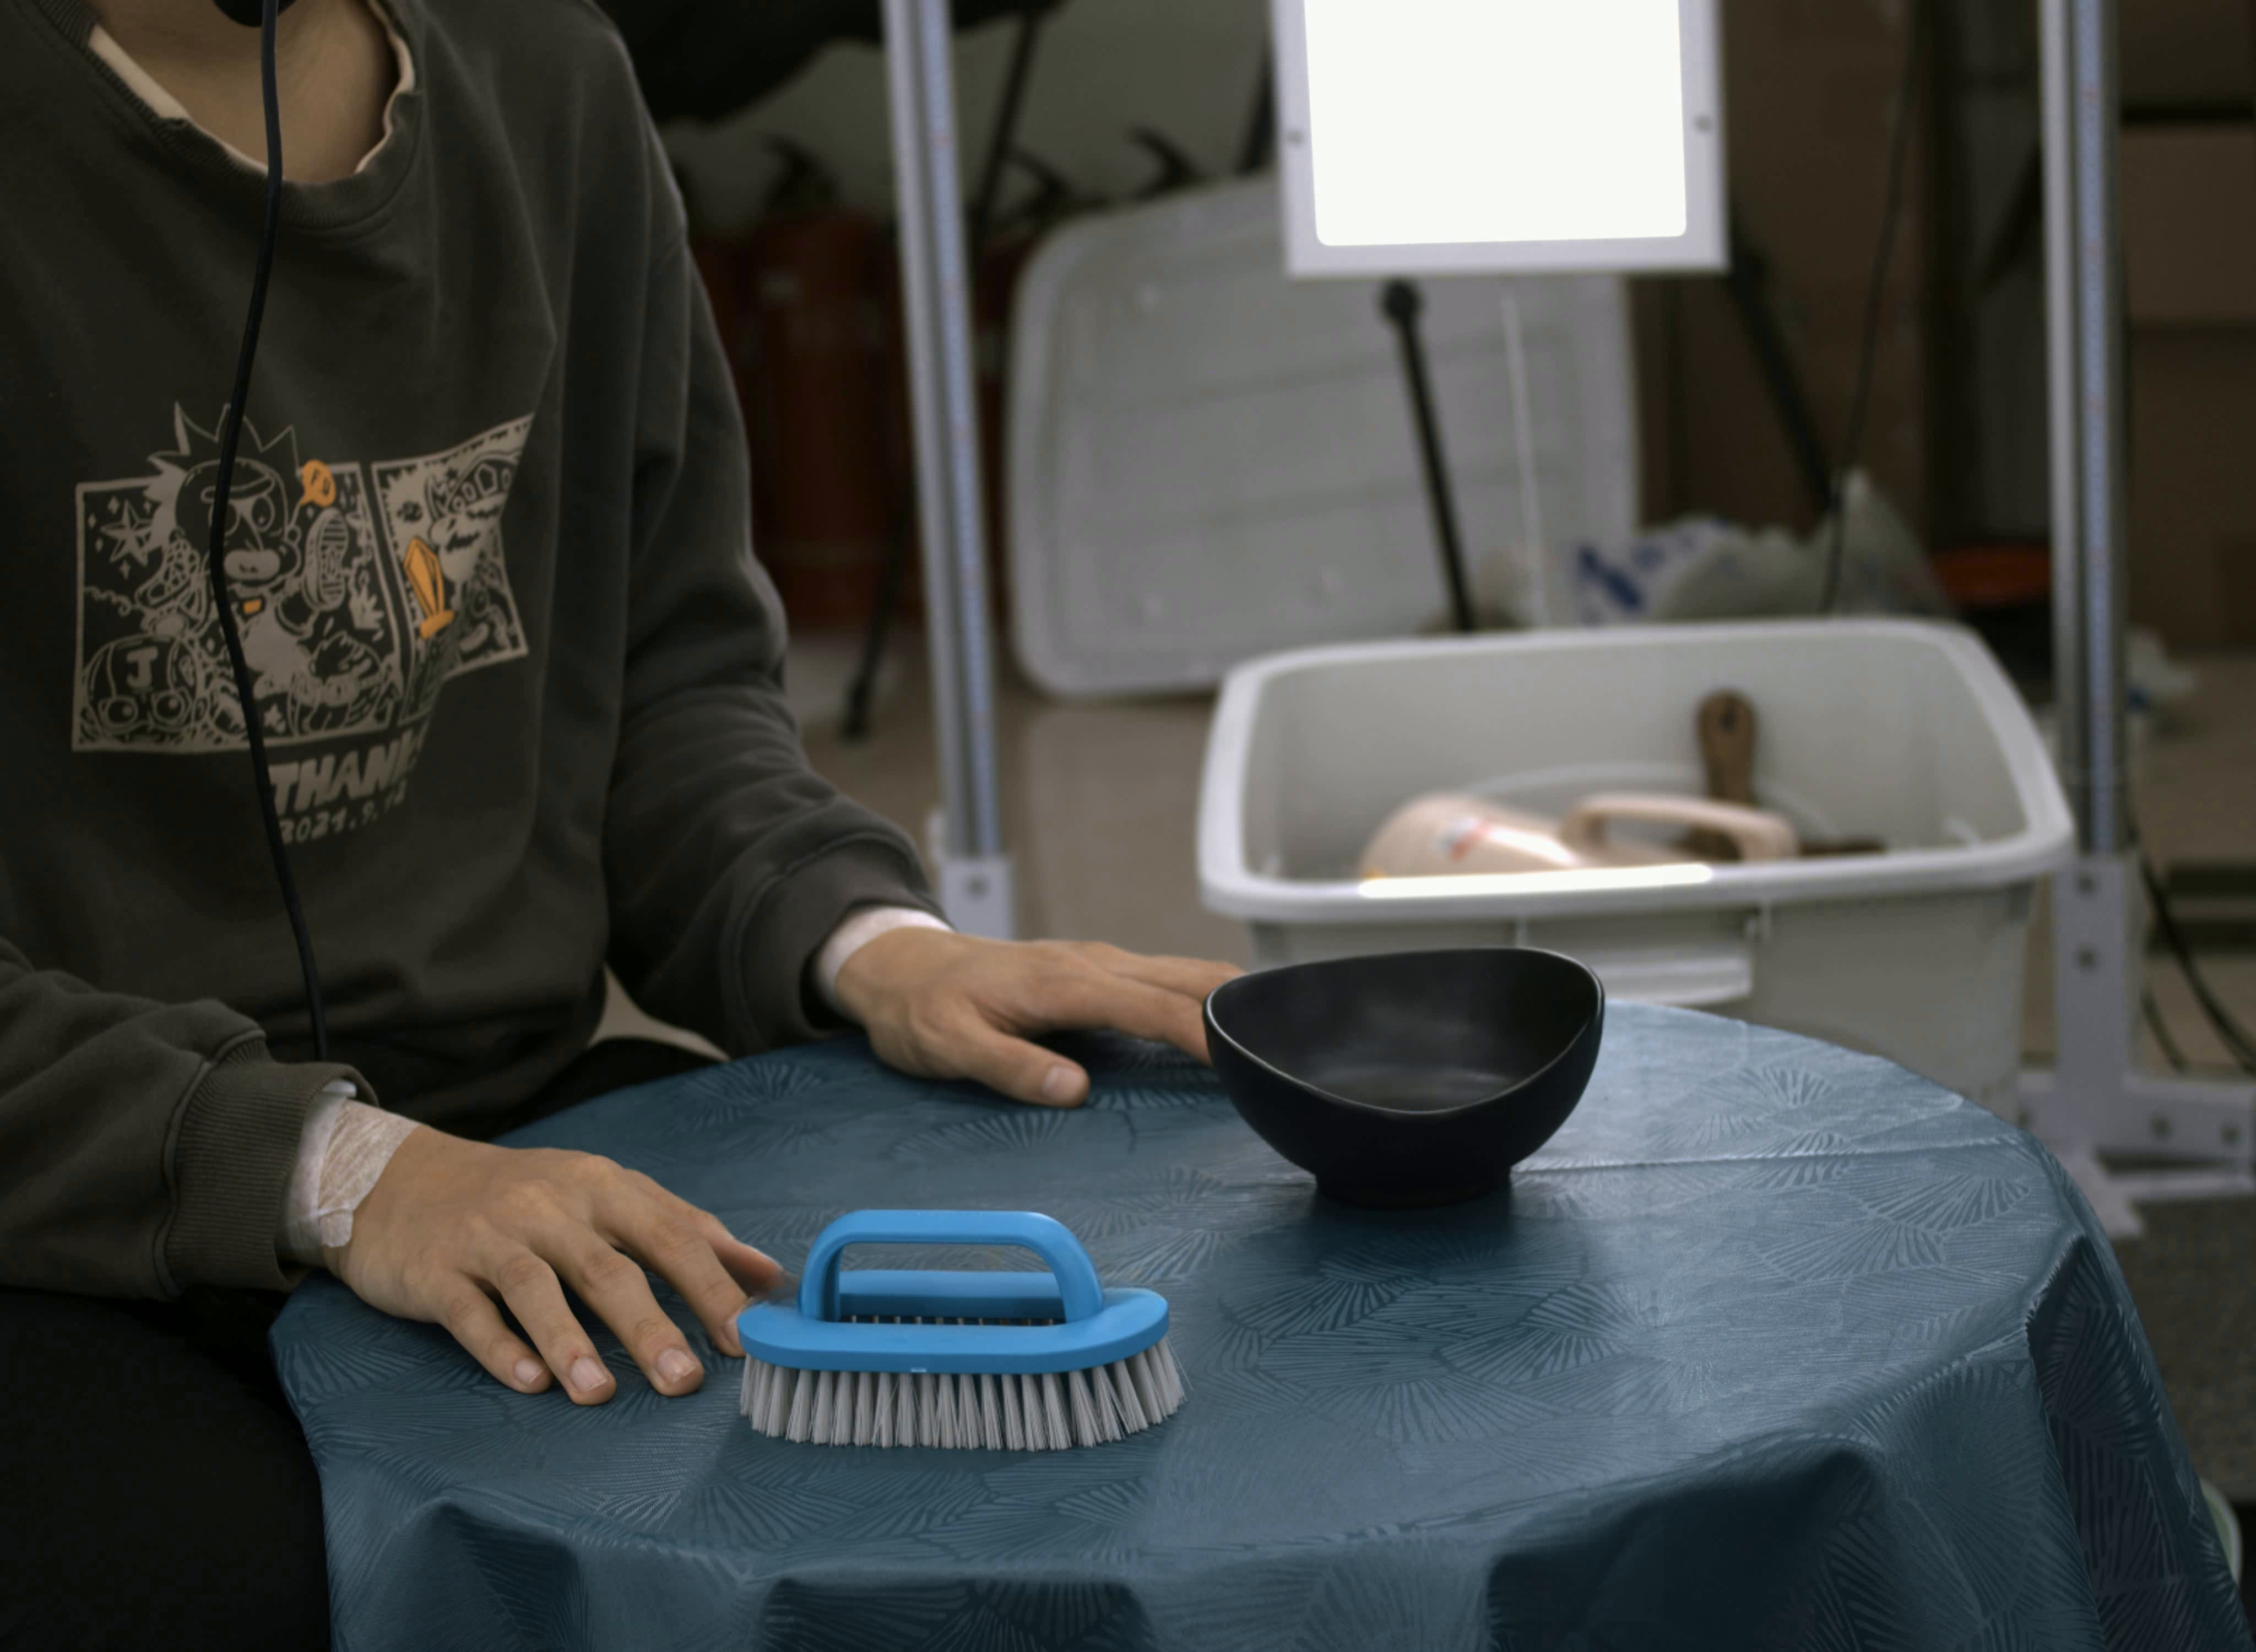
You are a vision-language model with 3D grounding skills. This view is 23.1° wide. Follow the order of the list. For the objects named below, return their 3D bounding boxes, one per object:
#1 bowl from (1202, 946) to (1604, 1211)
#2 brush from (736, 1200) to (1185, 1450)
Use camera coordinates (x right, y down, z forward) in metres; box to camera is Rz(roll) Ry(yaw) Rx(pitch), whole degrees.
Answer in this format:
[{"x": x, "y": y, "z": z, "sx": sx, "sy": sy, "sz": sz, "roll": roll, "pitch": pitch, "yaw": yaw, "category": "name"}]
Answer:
[{"x": 0.097, "y": 0.090, "z": 1.878, "sx": 0.136, "sy": 0.067, "sz": 0.170, "roll": -7, "pitch": 16, "yaw": -4, "category": "bowl"}, {"x": -0.055, "y": 0.147, "z": 1.697, "sx": 0.144, "sy": 0.064, "sz": 0.083, "roll": -1, "pitch": 19, "yaw": 20, "category": "brush"}]
